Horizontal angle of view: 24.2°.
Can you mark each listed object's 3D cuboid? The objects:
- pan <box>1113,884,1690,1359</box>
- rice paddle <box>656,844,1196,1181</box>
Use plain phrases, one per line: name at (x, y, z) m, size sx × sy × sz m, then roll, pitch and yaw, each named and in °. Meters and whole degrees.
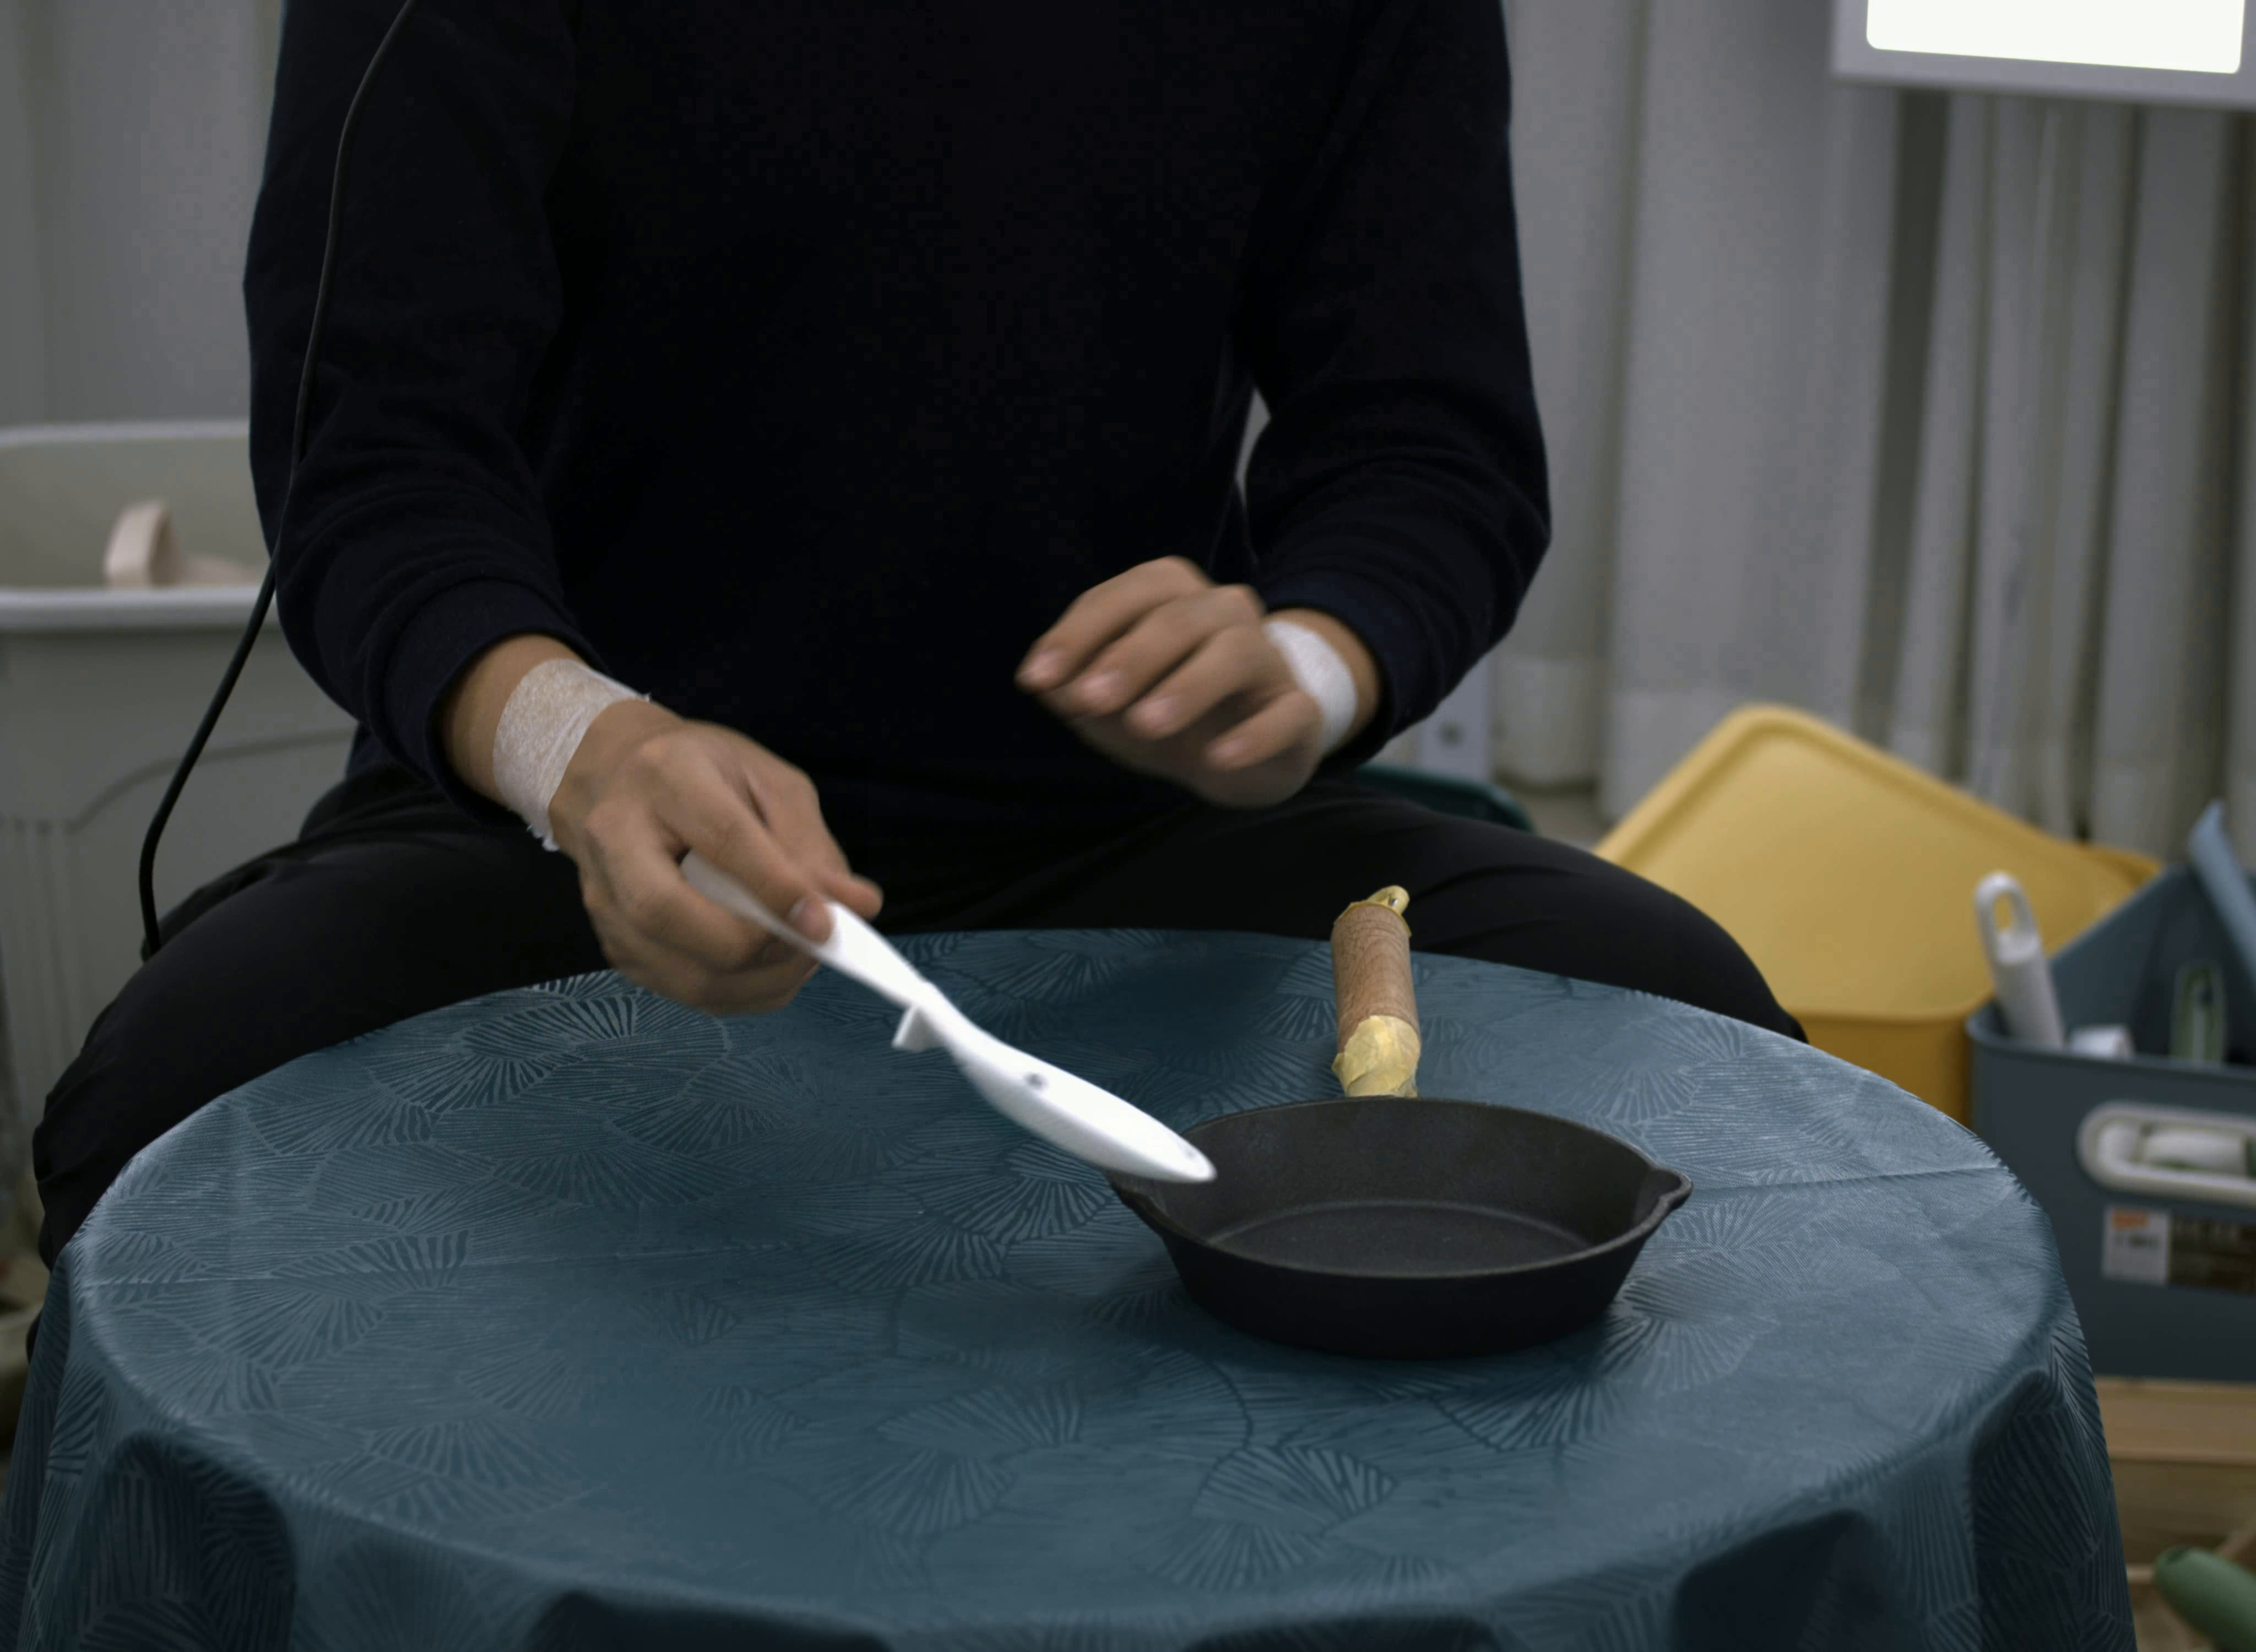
pan at (0.082, 0.087, 1.620) m, size 0.168 × 0.050 × 0.322 m, roll 1°, pitch 17°, yaw 1°
rice paddle at (-0.059, 0.057, 1.537) m, size 0.202 × 0.029 × 0.069 m, roll 28°, pitch 13°, yaw 35°
